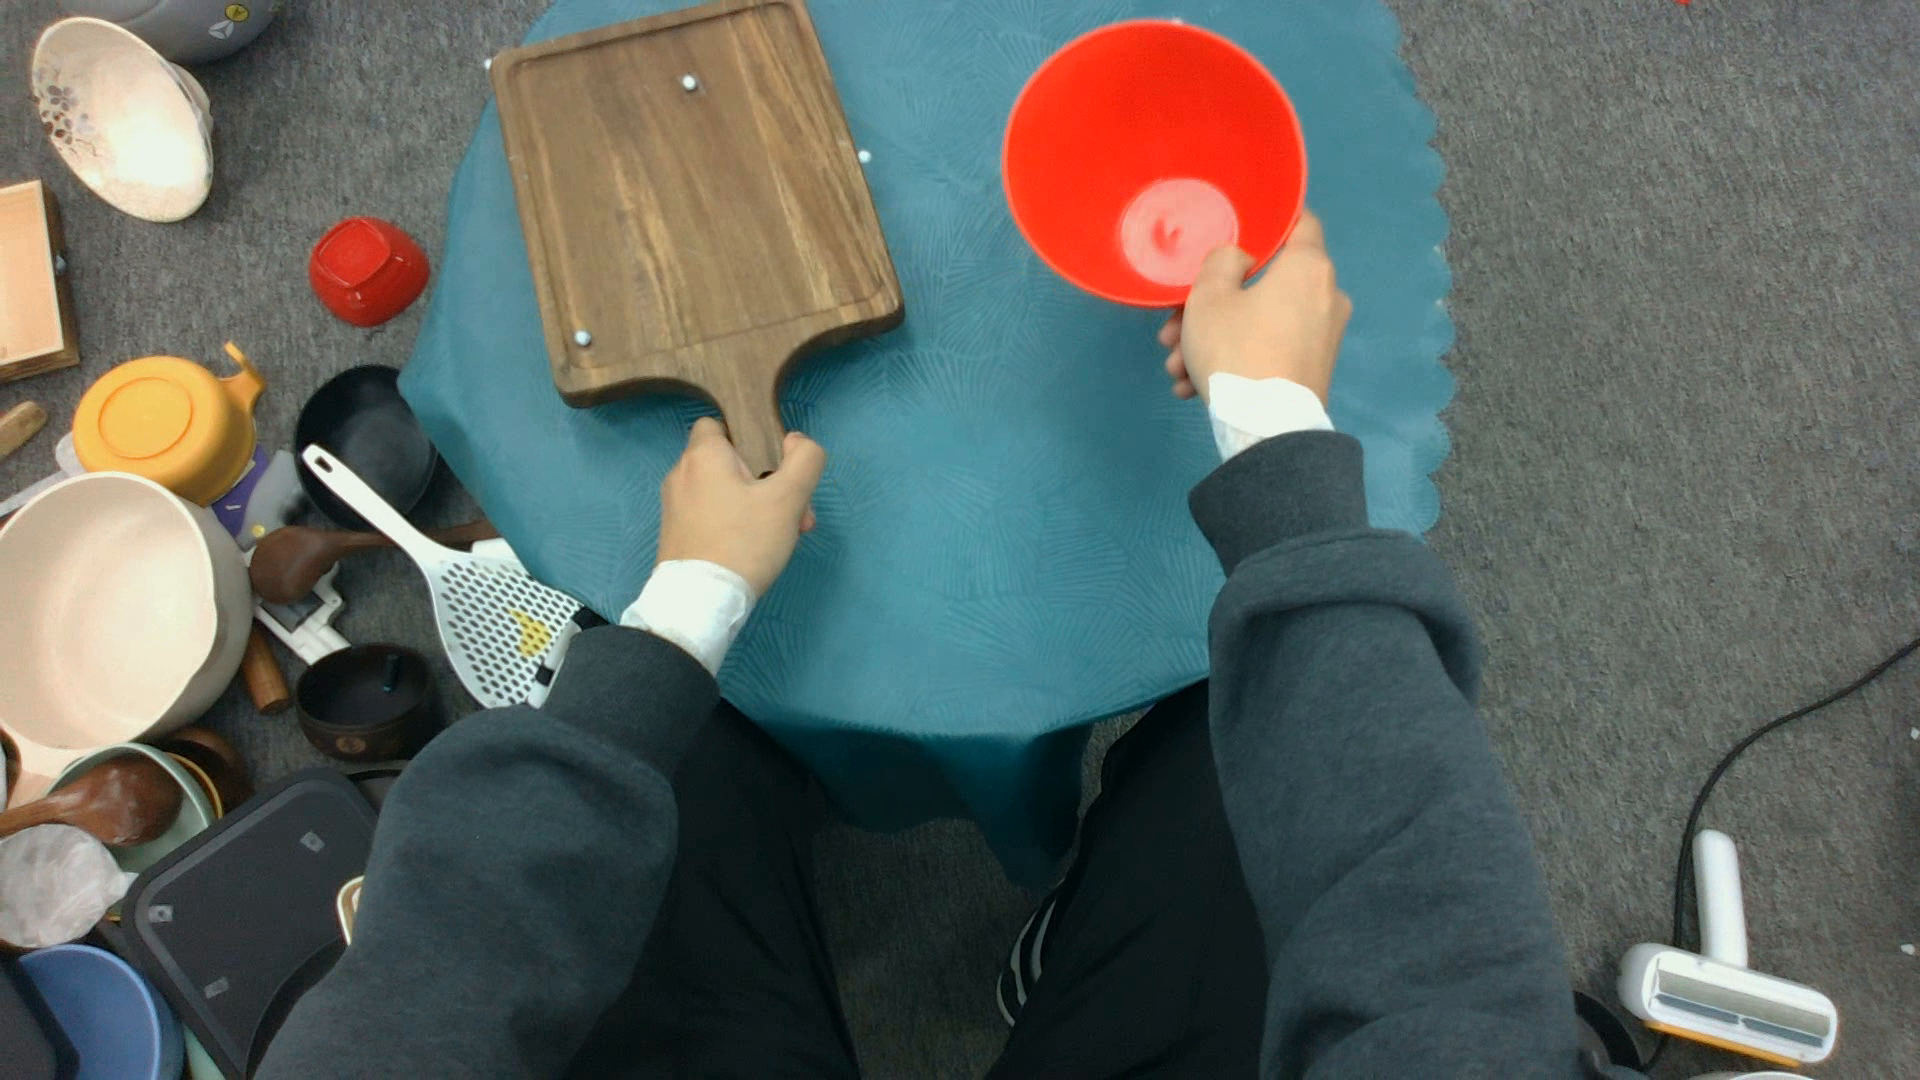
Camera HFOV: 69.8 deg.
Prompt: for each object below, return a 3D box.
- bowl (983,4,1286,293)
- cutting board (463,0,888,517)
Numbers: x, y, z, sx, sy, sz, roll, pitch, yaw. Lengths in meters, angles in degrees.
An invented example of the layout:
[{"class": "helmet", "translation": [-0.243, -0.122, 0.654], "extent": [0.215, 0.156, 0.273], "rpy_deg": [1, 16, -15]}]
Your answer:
[{"class": "bowl", "translation": [0.093, -0.189, 0.717], "extent": [0.148, 0.104, 0.148], "rpy_deg": [-2, 80, 9]}, {"class": "cutting board", "translation": [-0.156, -0.168, 0.783], "extent": [0.201, 0.023, 0.353], "rpy_deg": [-16, 67, -7]}]
